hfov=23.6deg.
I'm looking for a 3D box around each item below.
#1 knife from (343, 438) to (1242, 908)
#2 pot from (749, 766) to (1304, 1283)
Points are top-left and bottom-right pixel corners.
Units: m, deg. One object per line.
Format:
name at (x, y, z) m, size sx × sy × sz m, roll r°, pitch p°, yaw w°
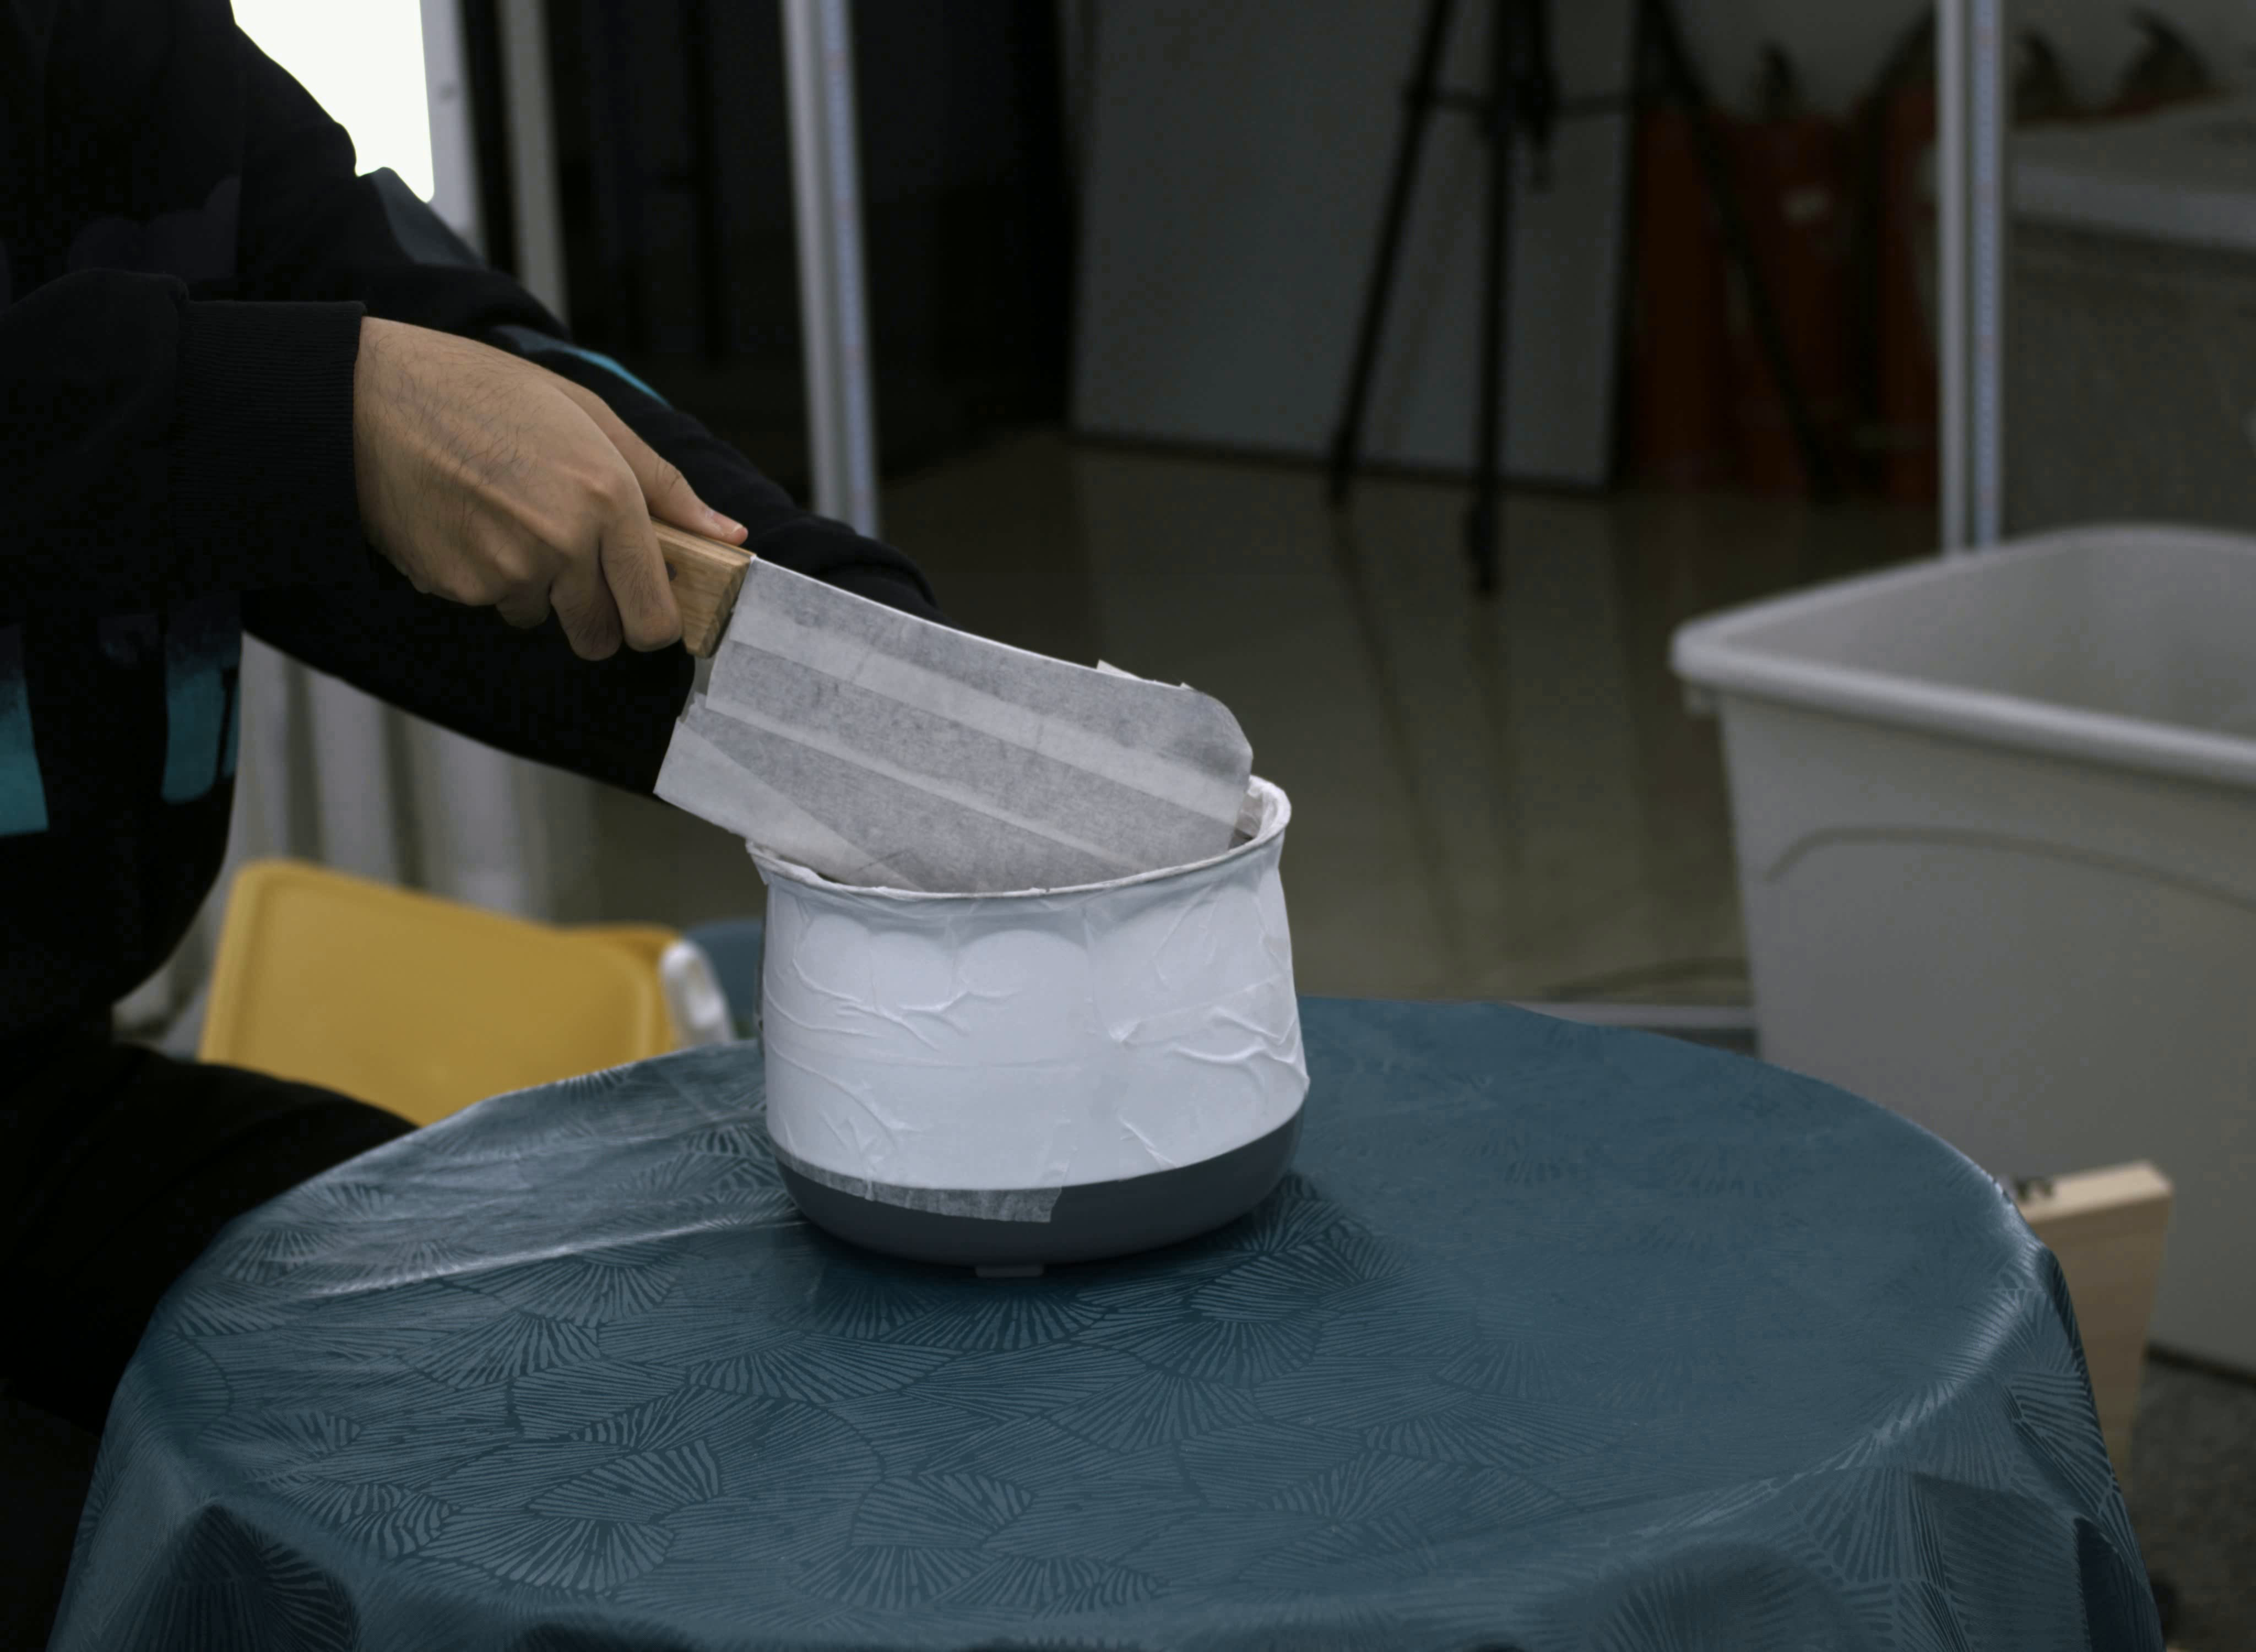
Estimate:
knife at (-0.107, -0.049, 1.709) m, size 0.314 × 0.115 × 0.021 m, roll 25°, pitch 14°, yaw 9°
pot at (-0.048, 0.055, 1.765) m, size 0.175 × 0.138 × 0.236 m, roll -13°, pitch 17°, yaw -36°
